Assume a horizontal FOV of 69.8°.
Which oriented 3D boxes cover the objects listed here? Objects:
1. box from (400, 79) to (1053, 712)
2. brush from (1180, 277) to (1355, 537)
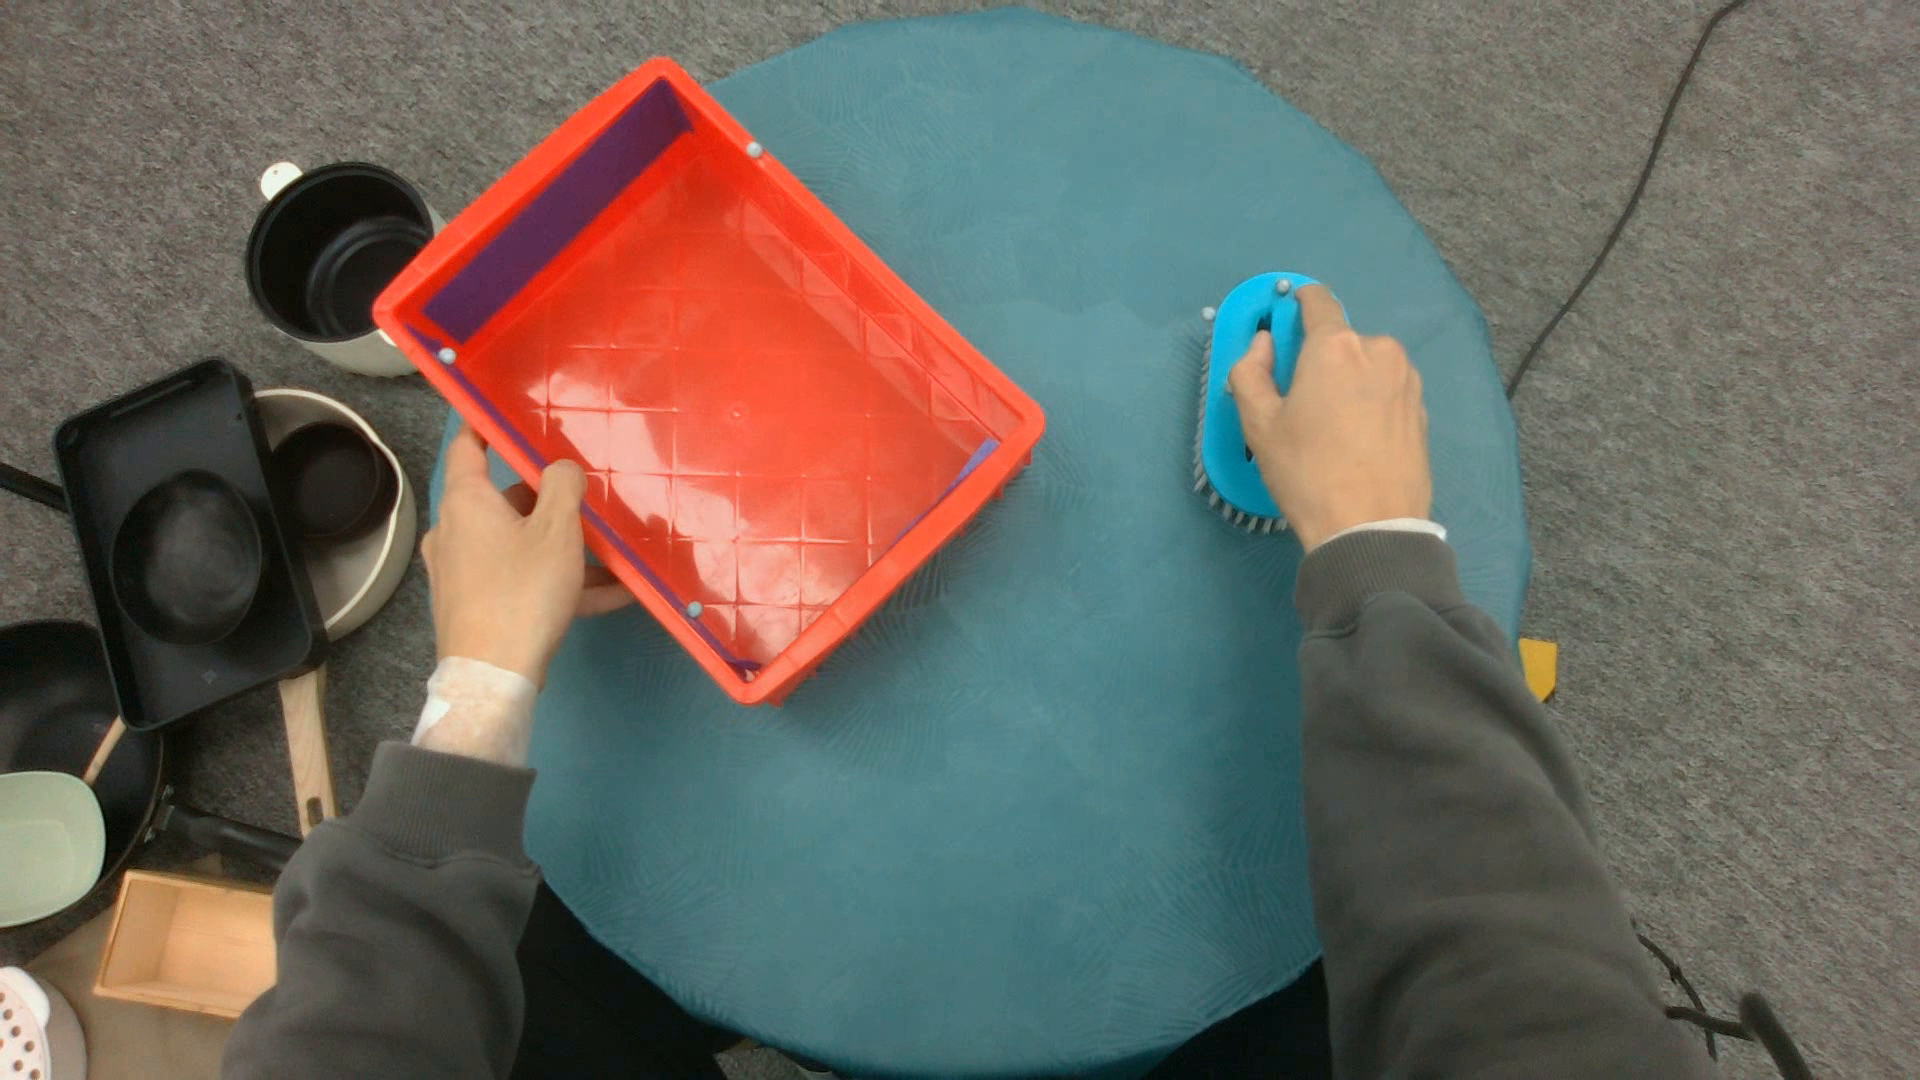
[{"bbox_3d":[-0.121,-0.074,0.748,0.207,0.096,0.304,-43,77,-6],"label":"box"},{"bbox_3d":[0.167,-0.075,0.736,0.084,0.063,0.142,9,78,2],"label":"brush"}]
